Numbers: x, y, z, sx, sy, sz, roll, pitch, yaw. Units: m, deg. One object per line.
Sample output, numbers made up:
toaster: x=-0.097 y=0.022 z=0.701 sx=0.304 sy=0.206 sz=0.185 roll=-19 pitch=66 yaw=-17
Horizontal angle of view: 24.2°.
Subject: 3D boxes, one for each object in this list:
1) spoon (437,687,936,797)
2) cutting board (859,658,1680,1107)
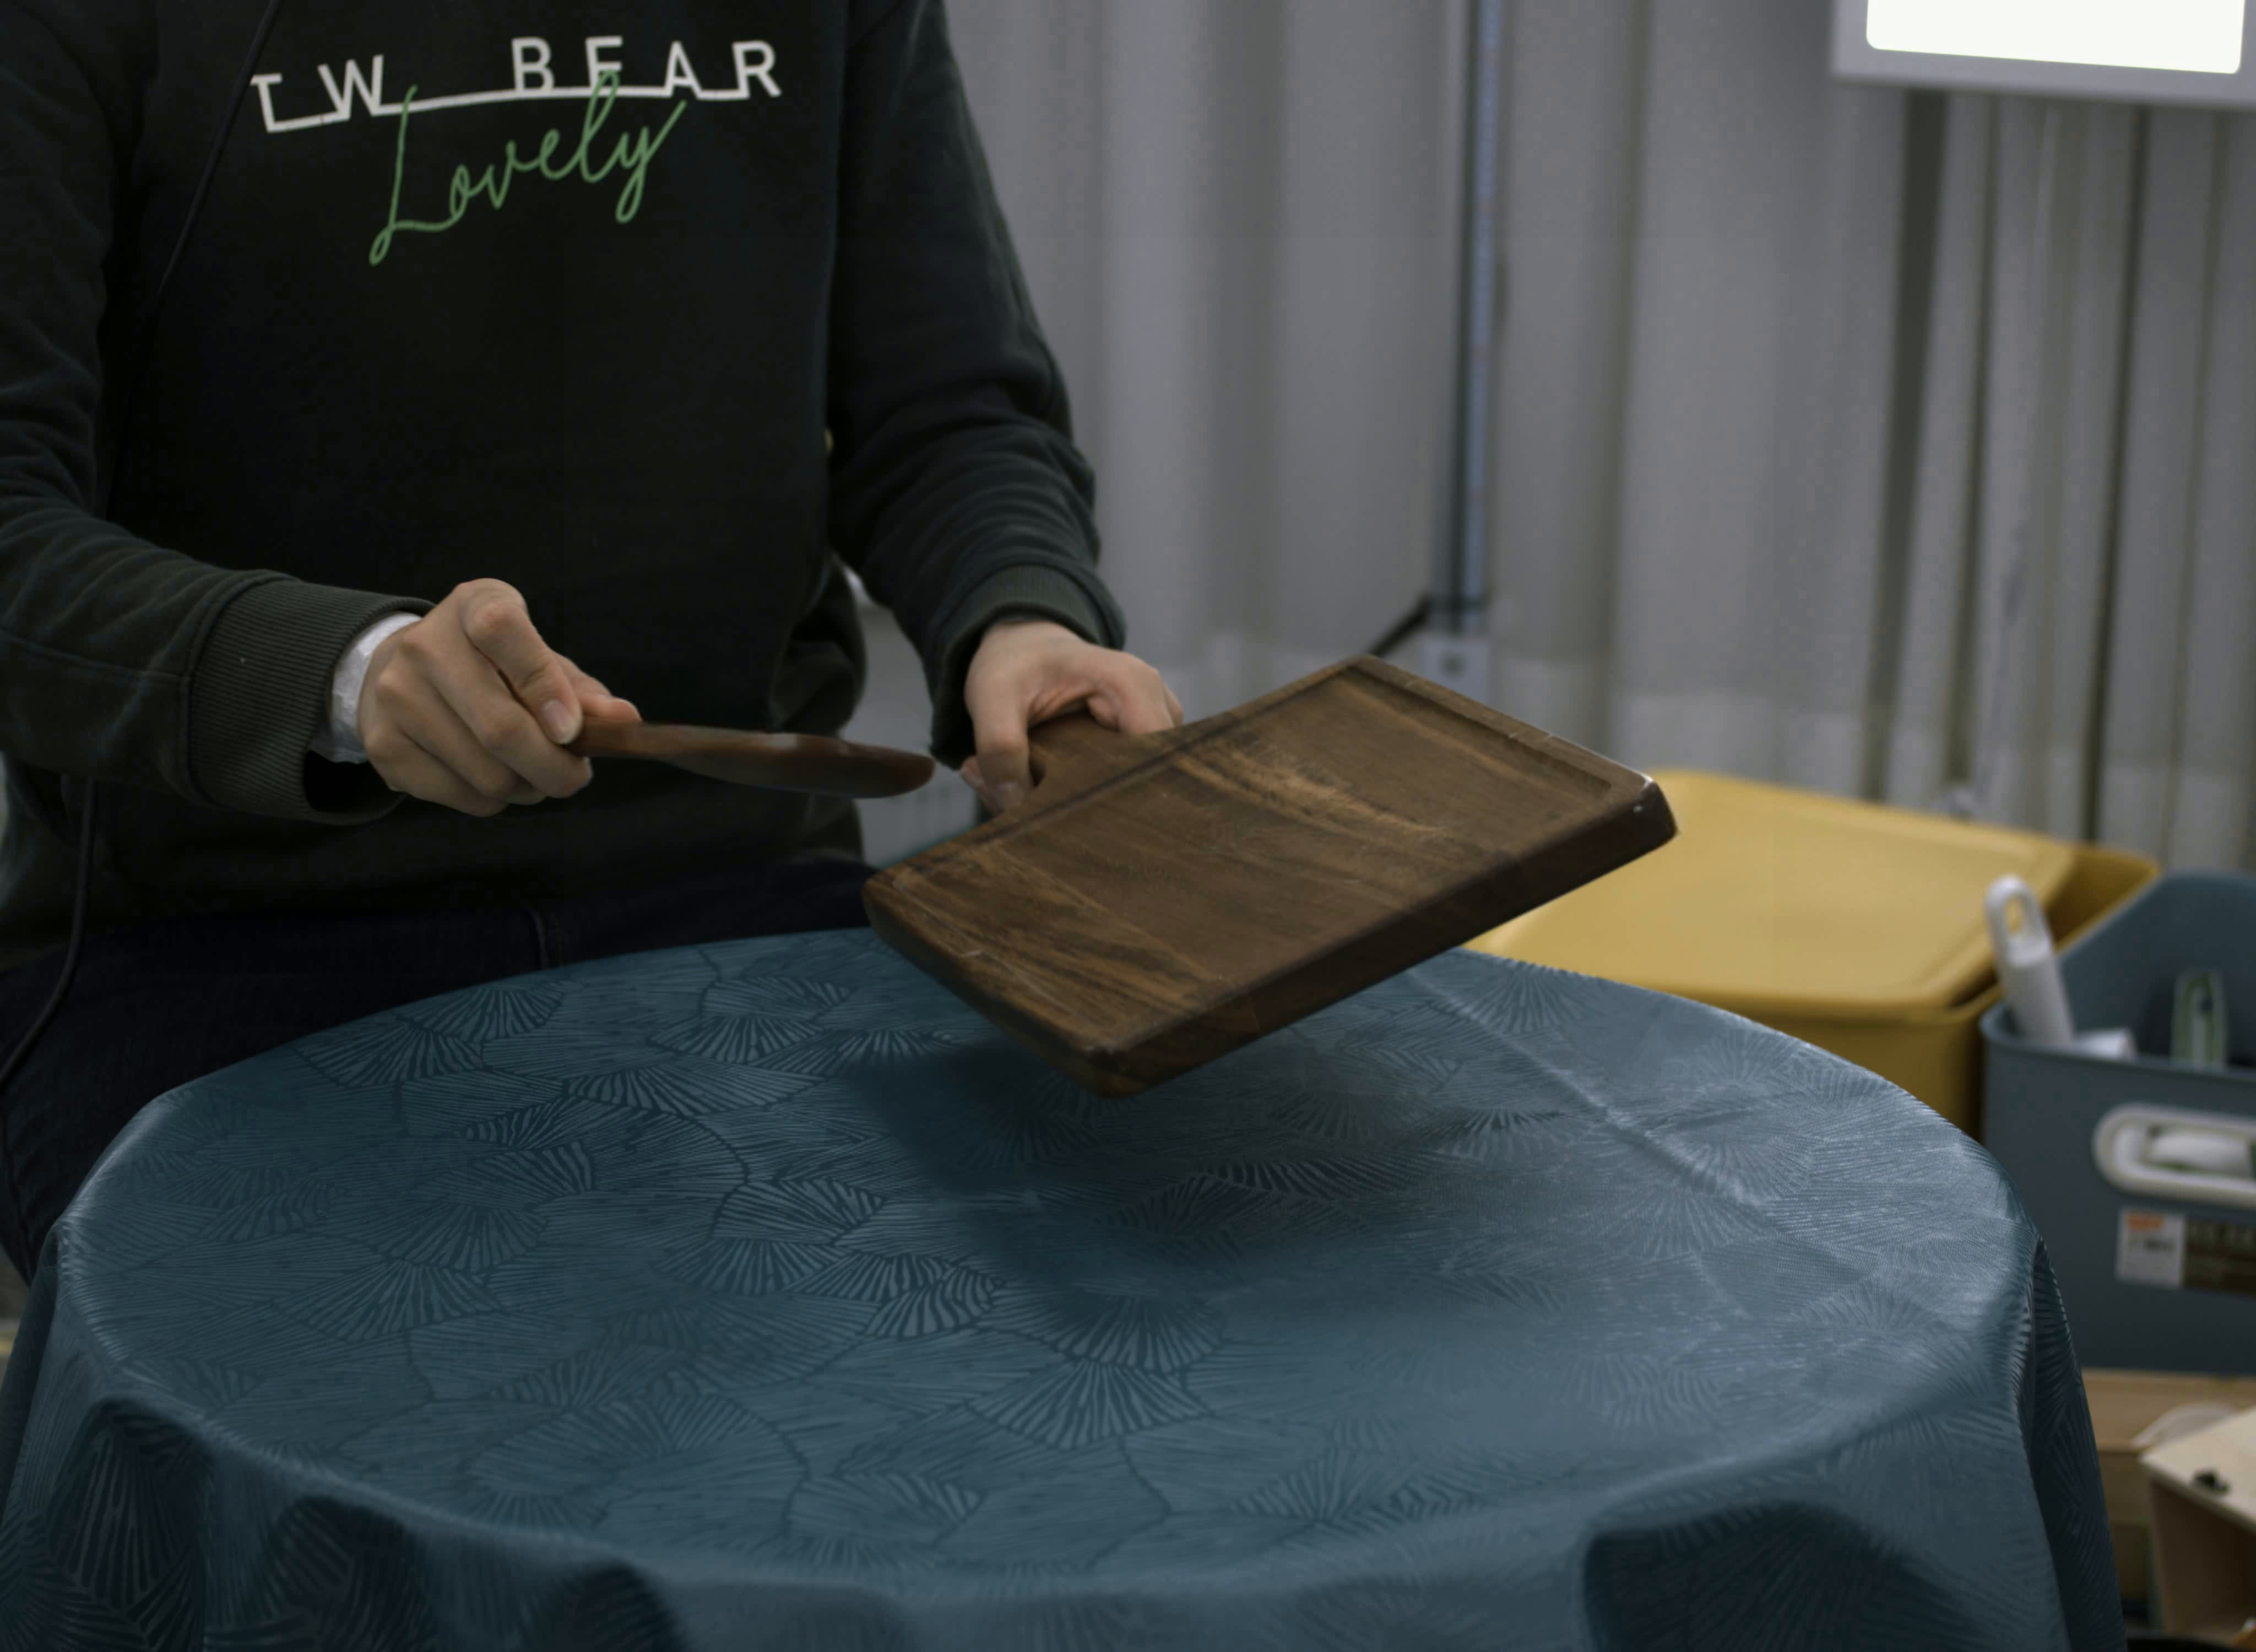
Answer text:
spoon: x=-0.140 y=-0.025 z=1.587 sx=0.076 sy=0.017 sz=0.213 roll=6 pitch=2 yaw=-43
cutting board: x=0.022 y=0.003 z=1.708 sx=0.201 sy=0.023 sz=0.348 roll=-25 pitch=18 yaw=-13
